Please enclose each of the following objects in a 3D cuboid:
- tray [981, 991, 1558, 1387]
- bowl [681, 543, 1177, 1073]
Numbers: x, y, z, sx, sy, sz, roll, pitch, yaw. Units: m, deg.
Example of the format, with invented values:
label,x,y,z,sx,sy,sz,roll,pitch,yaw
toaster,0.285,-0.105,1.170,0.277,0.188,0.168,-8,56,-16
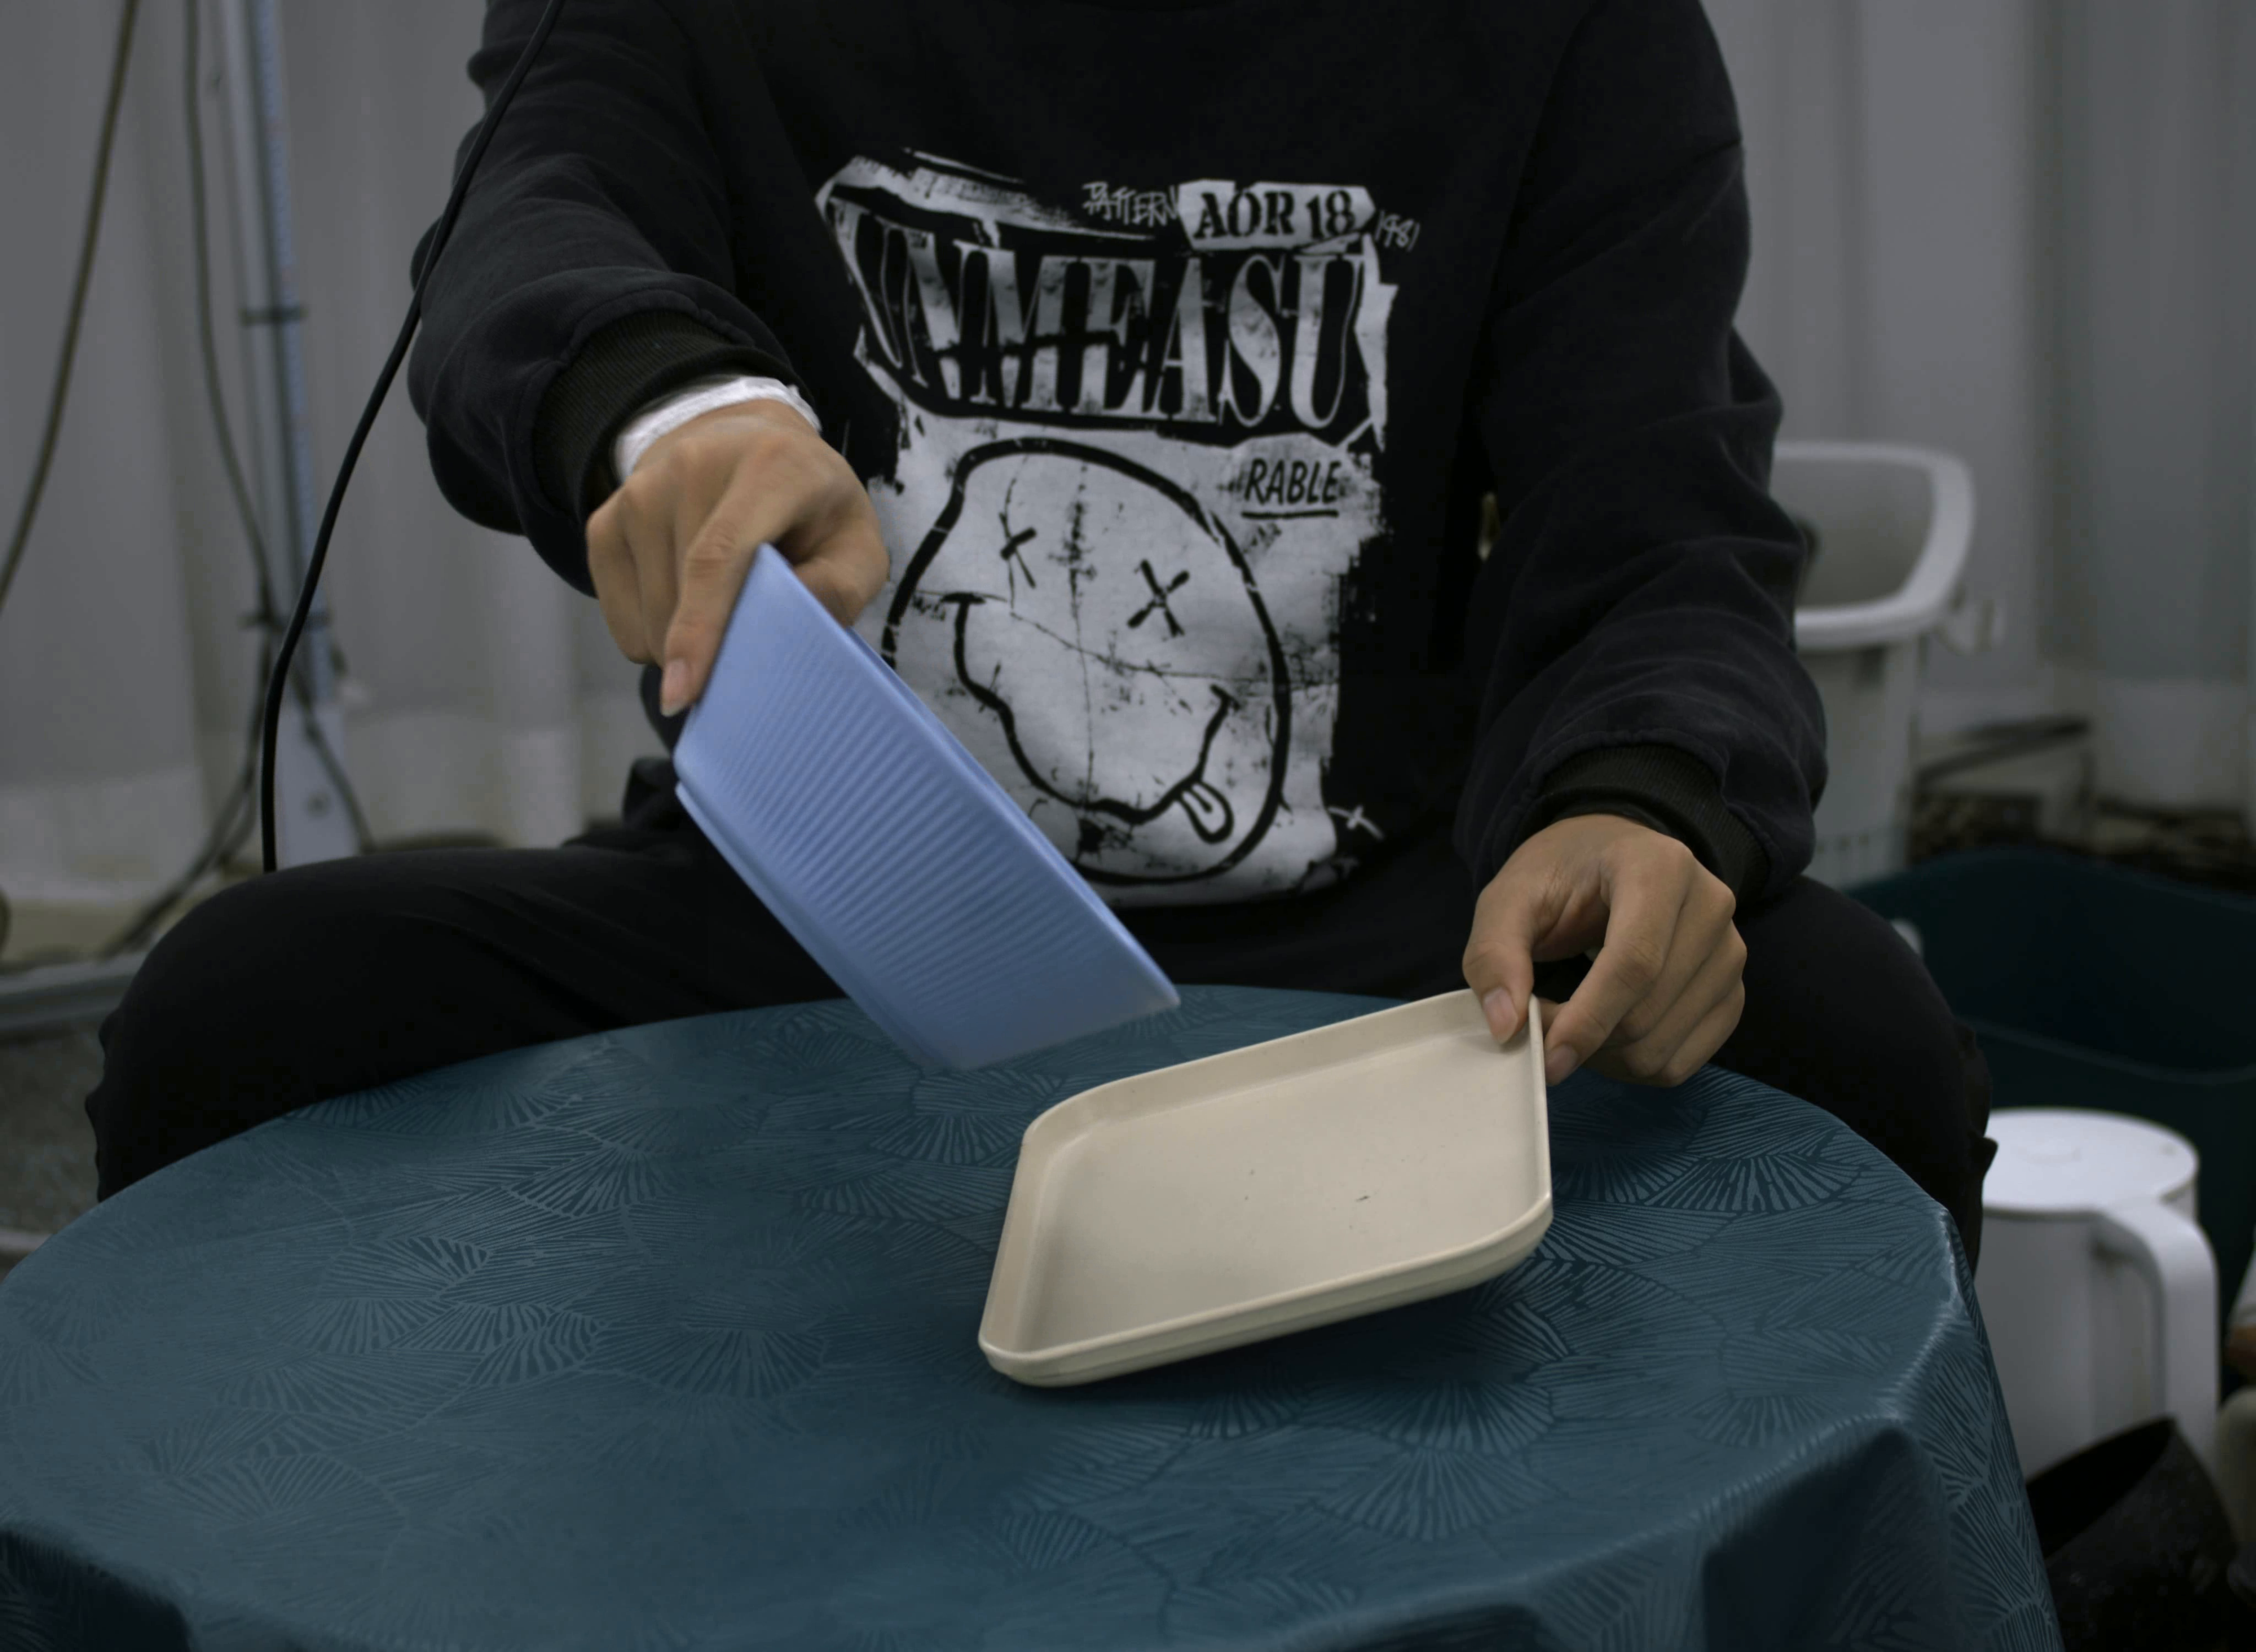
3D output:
label,x,y,z,sx,sy,sz,roll,pitch,yaw
tray,0.045,0.108,1.637,0.171,0.017,0.241,-14,14,7
bowl,-0.067,0.006,1.560,0.070,0.174,0.177,-40,19,-1
